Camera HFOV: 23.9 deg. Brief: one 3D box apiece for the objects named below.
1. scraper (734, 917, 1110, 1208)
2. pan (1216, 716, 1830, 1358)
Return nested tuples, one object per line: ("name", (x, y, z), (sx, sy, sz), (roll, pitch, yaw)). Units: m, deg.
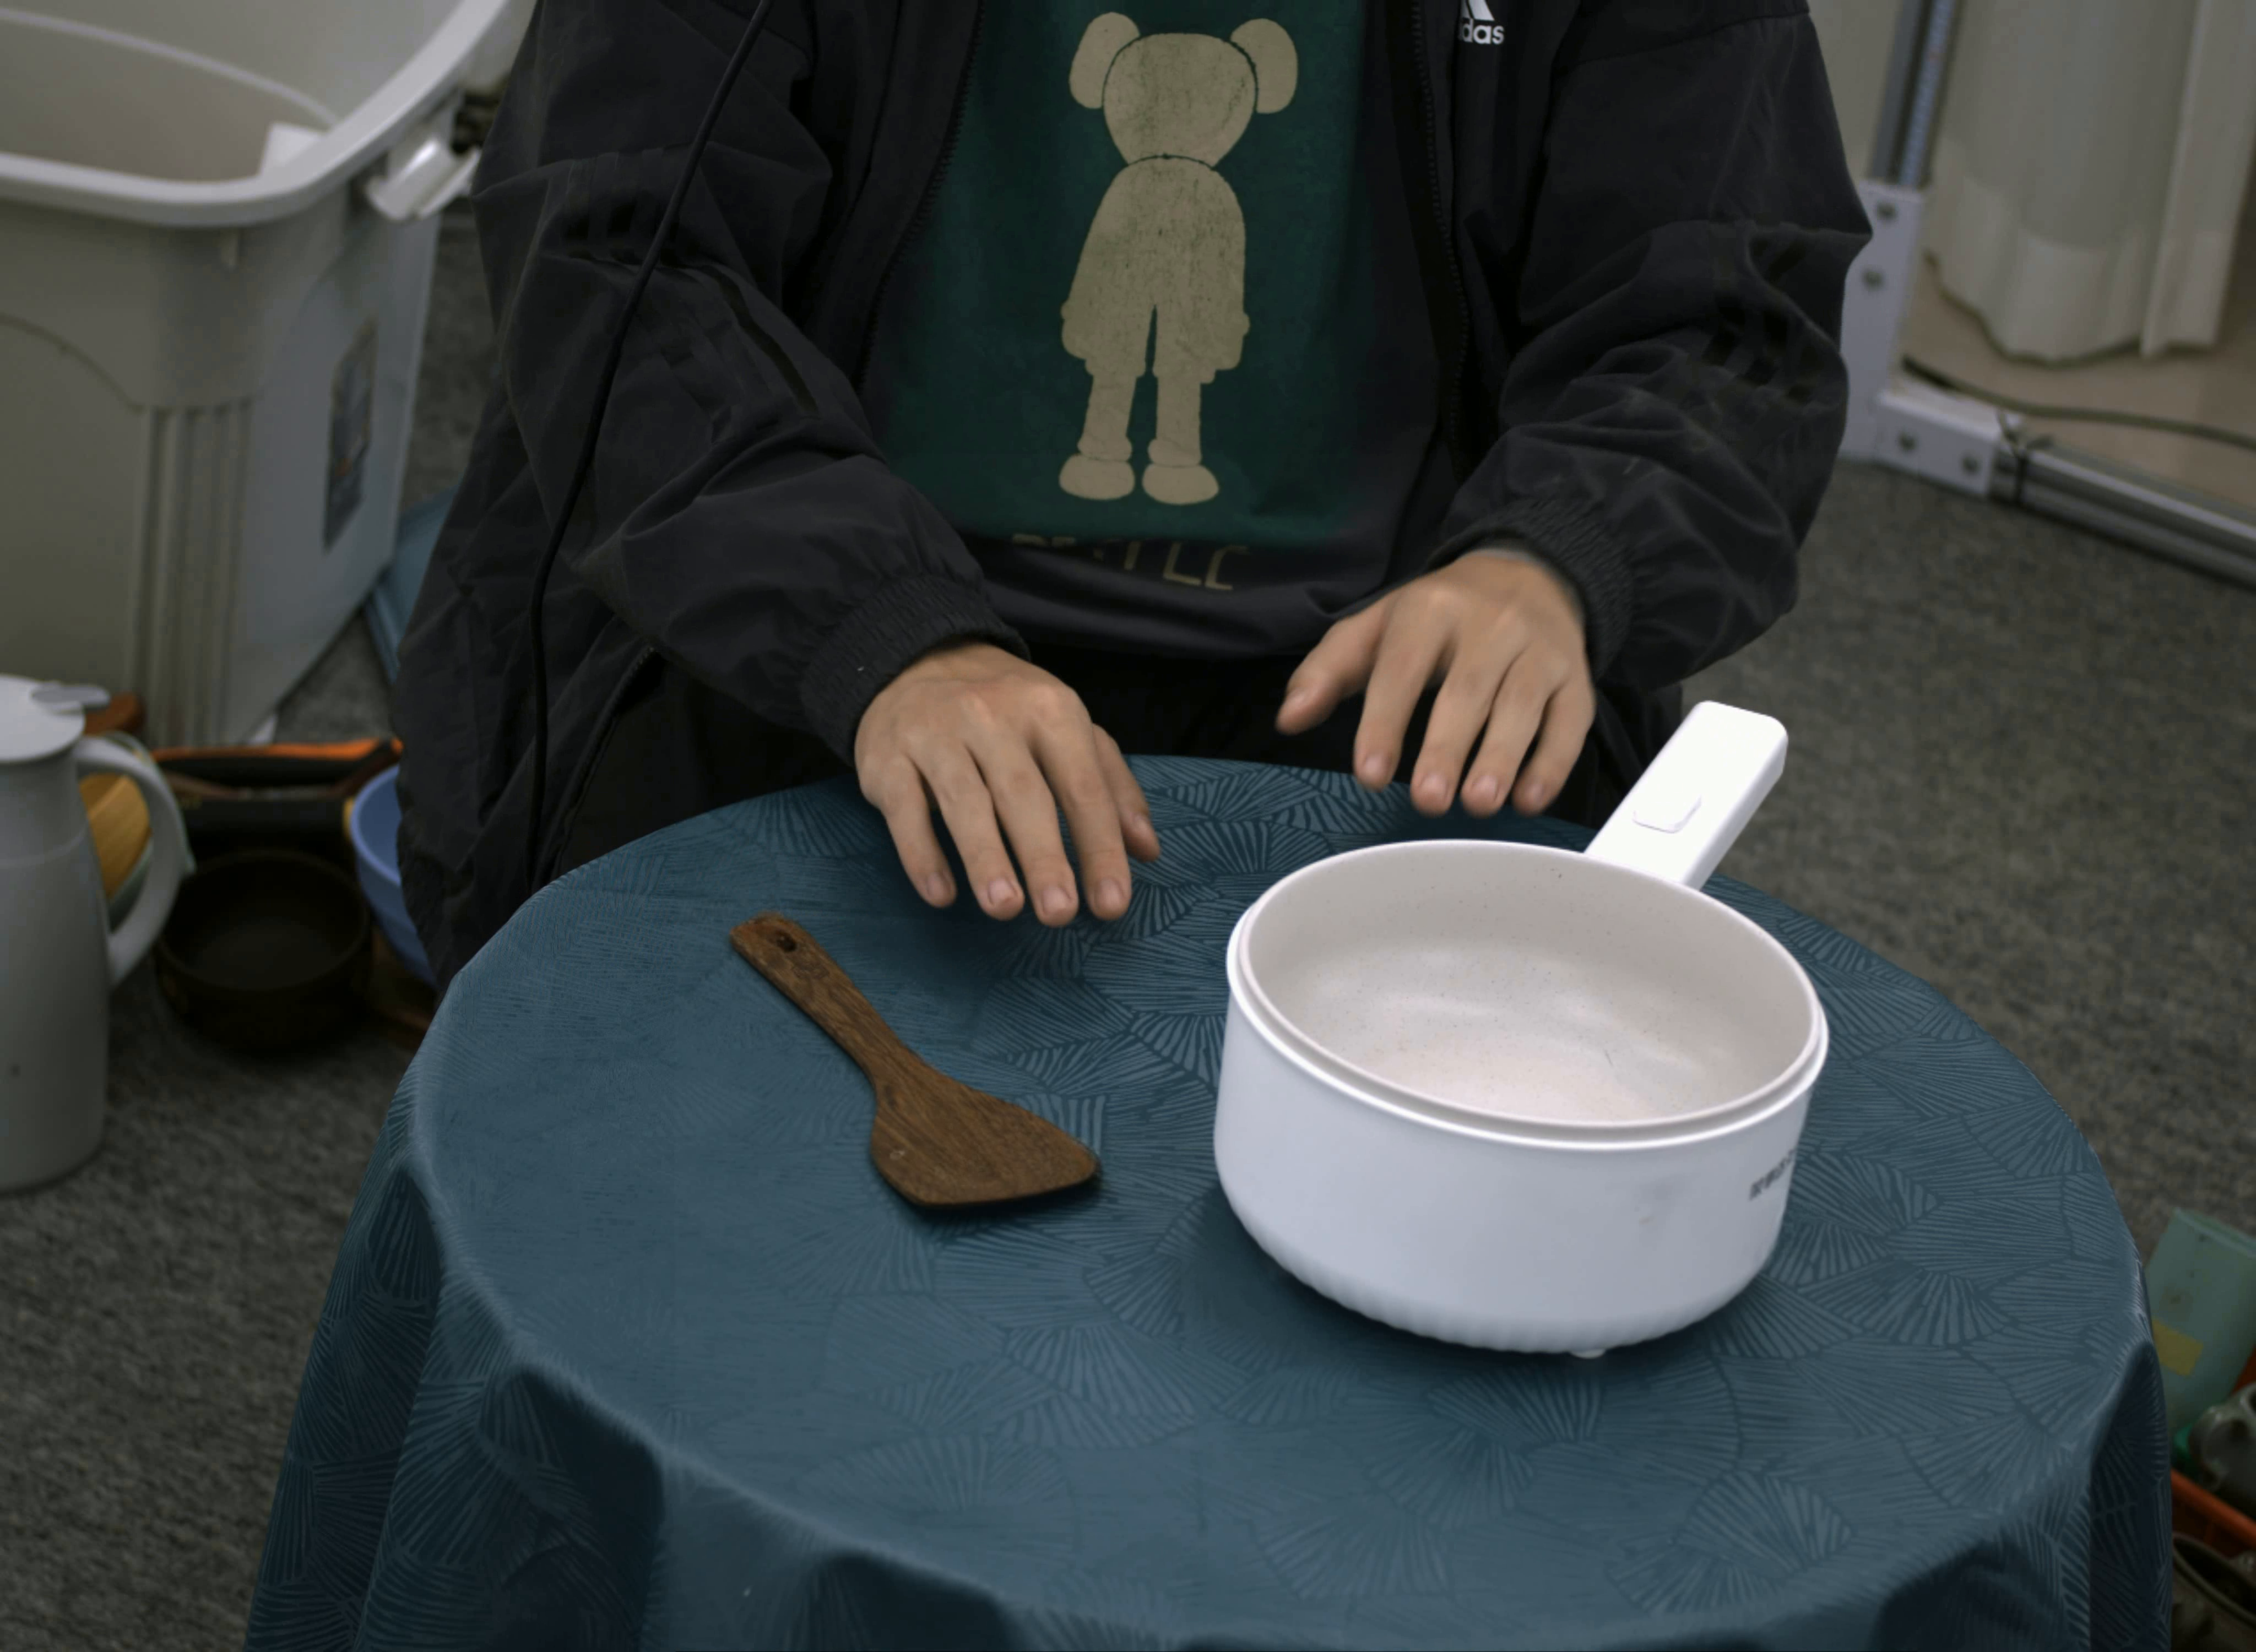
("scraper", (-0.084, 0.081, 1.861), (0.075, 0.011, 0.213), (-8, 29, -28))
("pan", (0.157, 0.067, 1.847), (0.202, 0.102, 0.355), (15, 26, 18))
